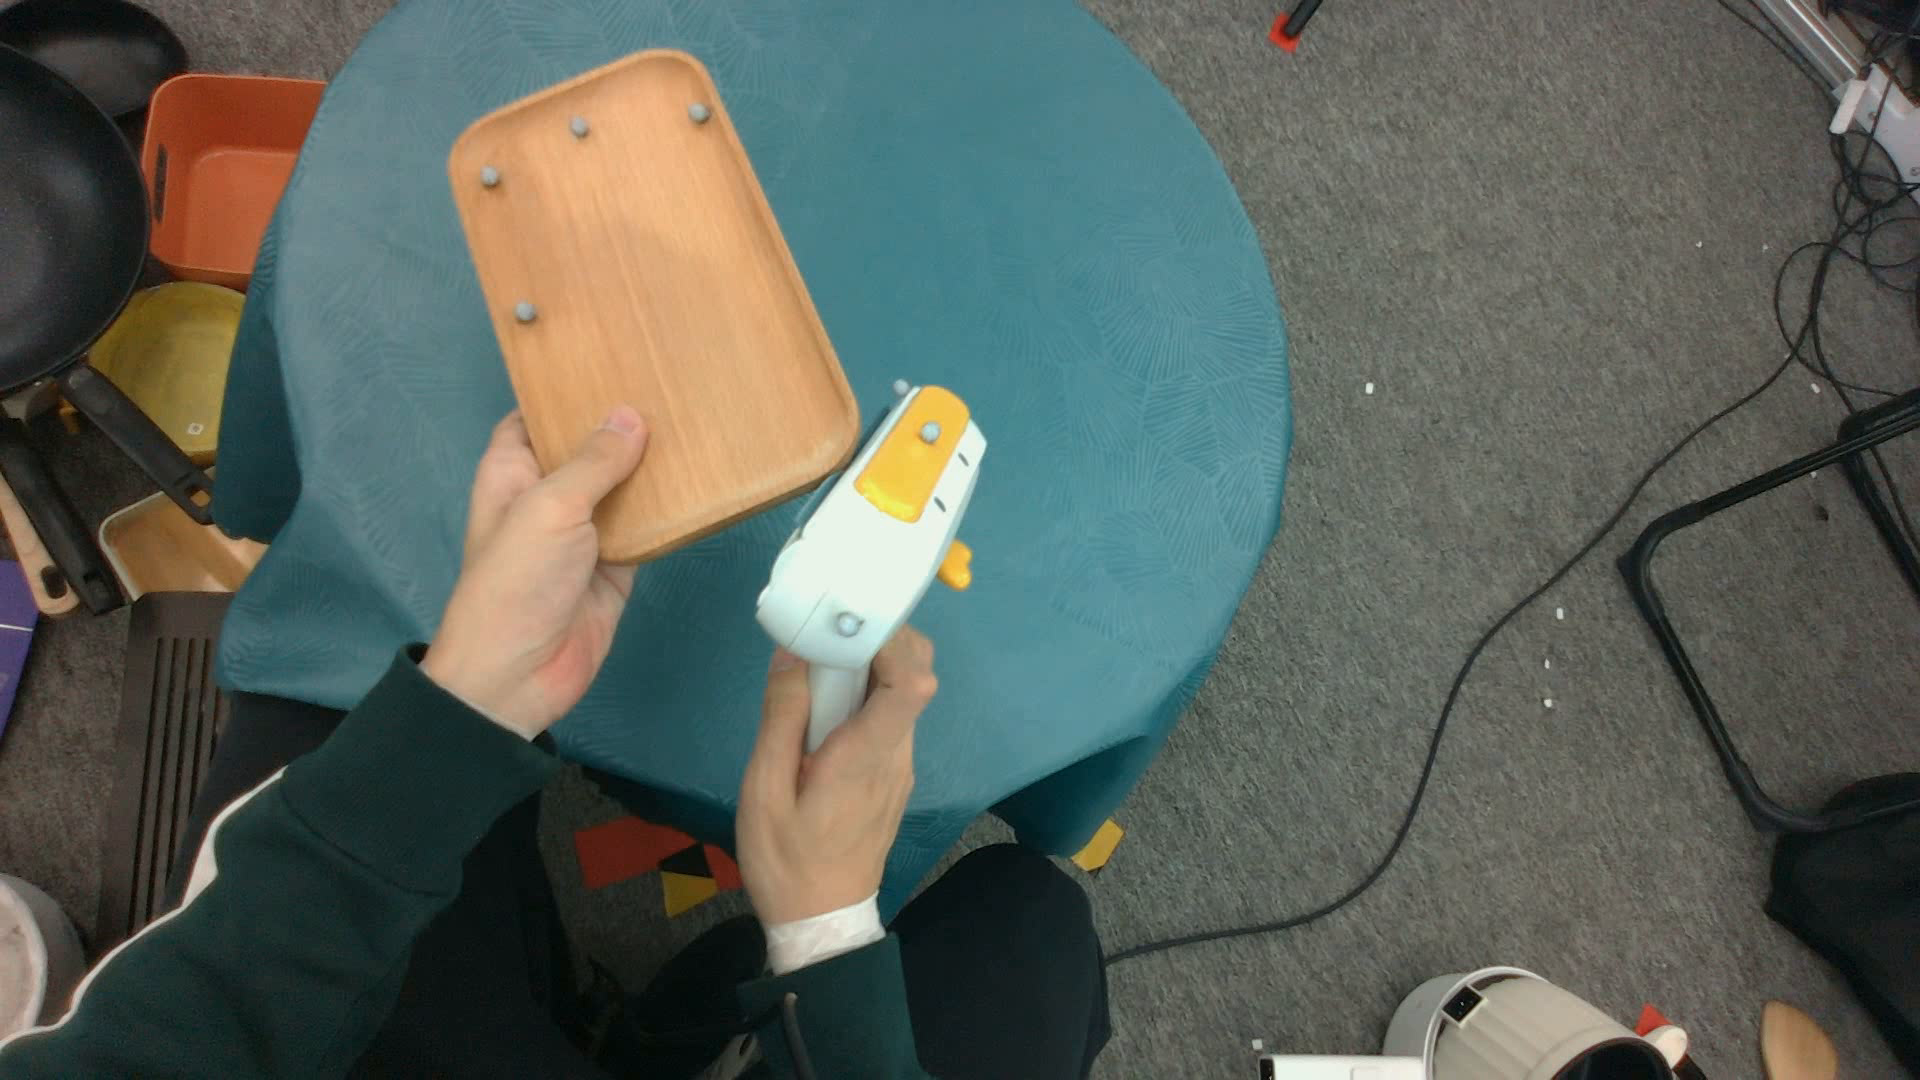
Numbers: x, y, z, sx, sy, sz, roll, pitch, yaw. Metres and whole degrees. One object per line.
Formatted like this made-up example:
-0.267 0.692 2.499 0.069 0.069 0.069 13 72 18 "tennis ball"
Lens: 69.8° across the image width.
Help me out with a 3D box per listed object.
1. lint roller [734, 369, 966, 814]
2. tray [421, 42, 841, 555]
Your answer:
-0.058 0.035 0.591 0.074 0.191 0.193 24 27 -8 "lint roller"
-0.145 -0.112 0.589 0.130 0.023 0.251 -25 64 -2 "tray"
